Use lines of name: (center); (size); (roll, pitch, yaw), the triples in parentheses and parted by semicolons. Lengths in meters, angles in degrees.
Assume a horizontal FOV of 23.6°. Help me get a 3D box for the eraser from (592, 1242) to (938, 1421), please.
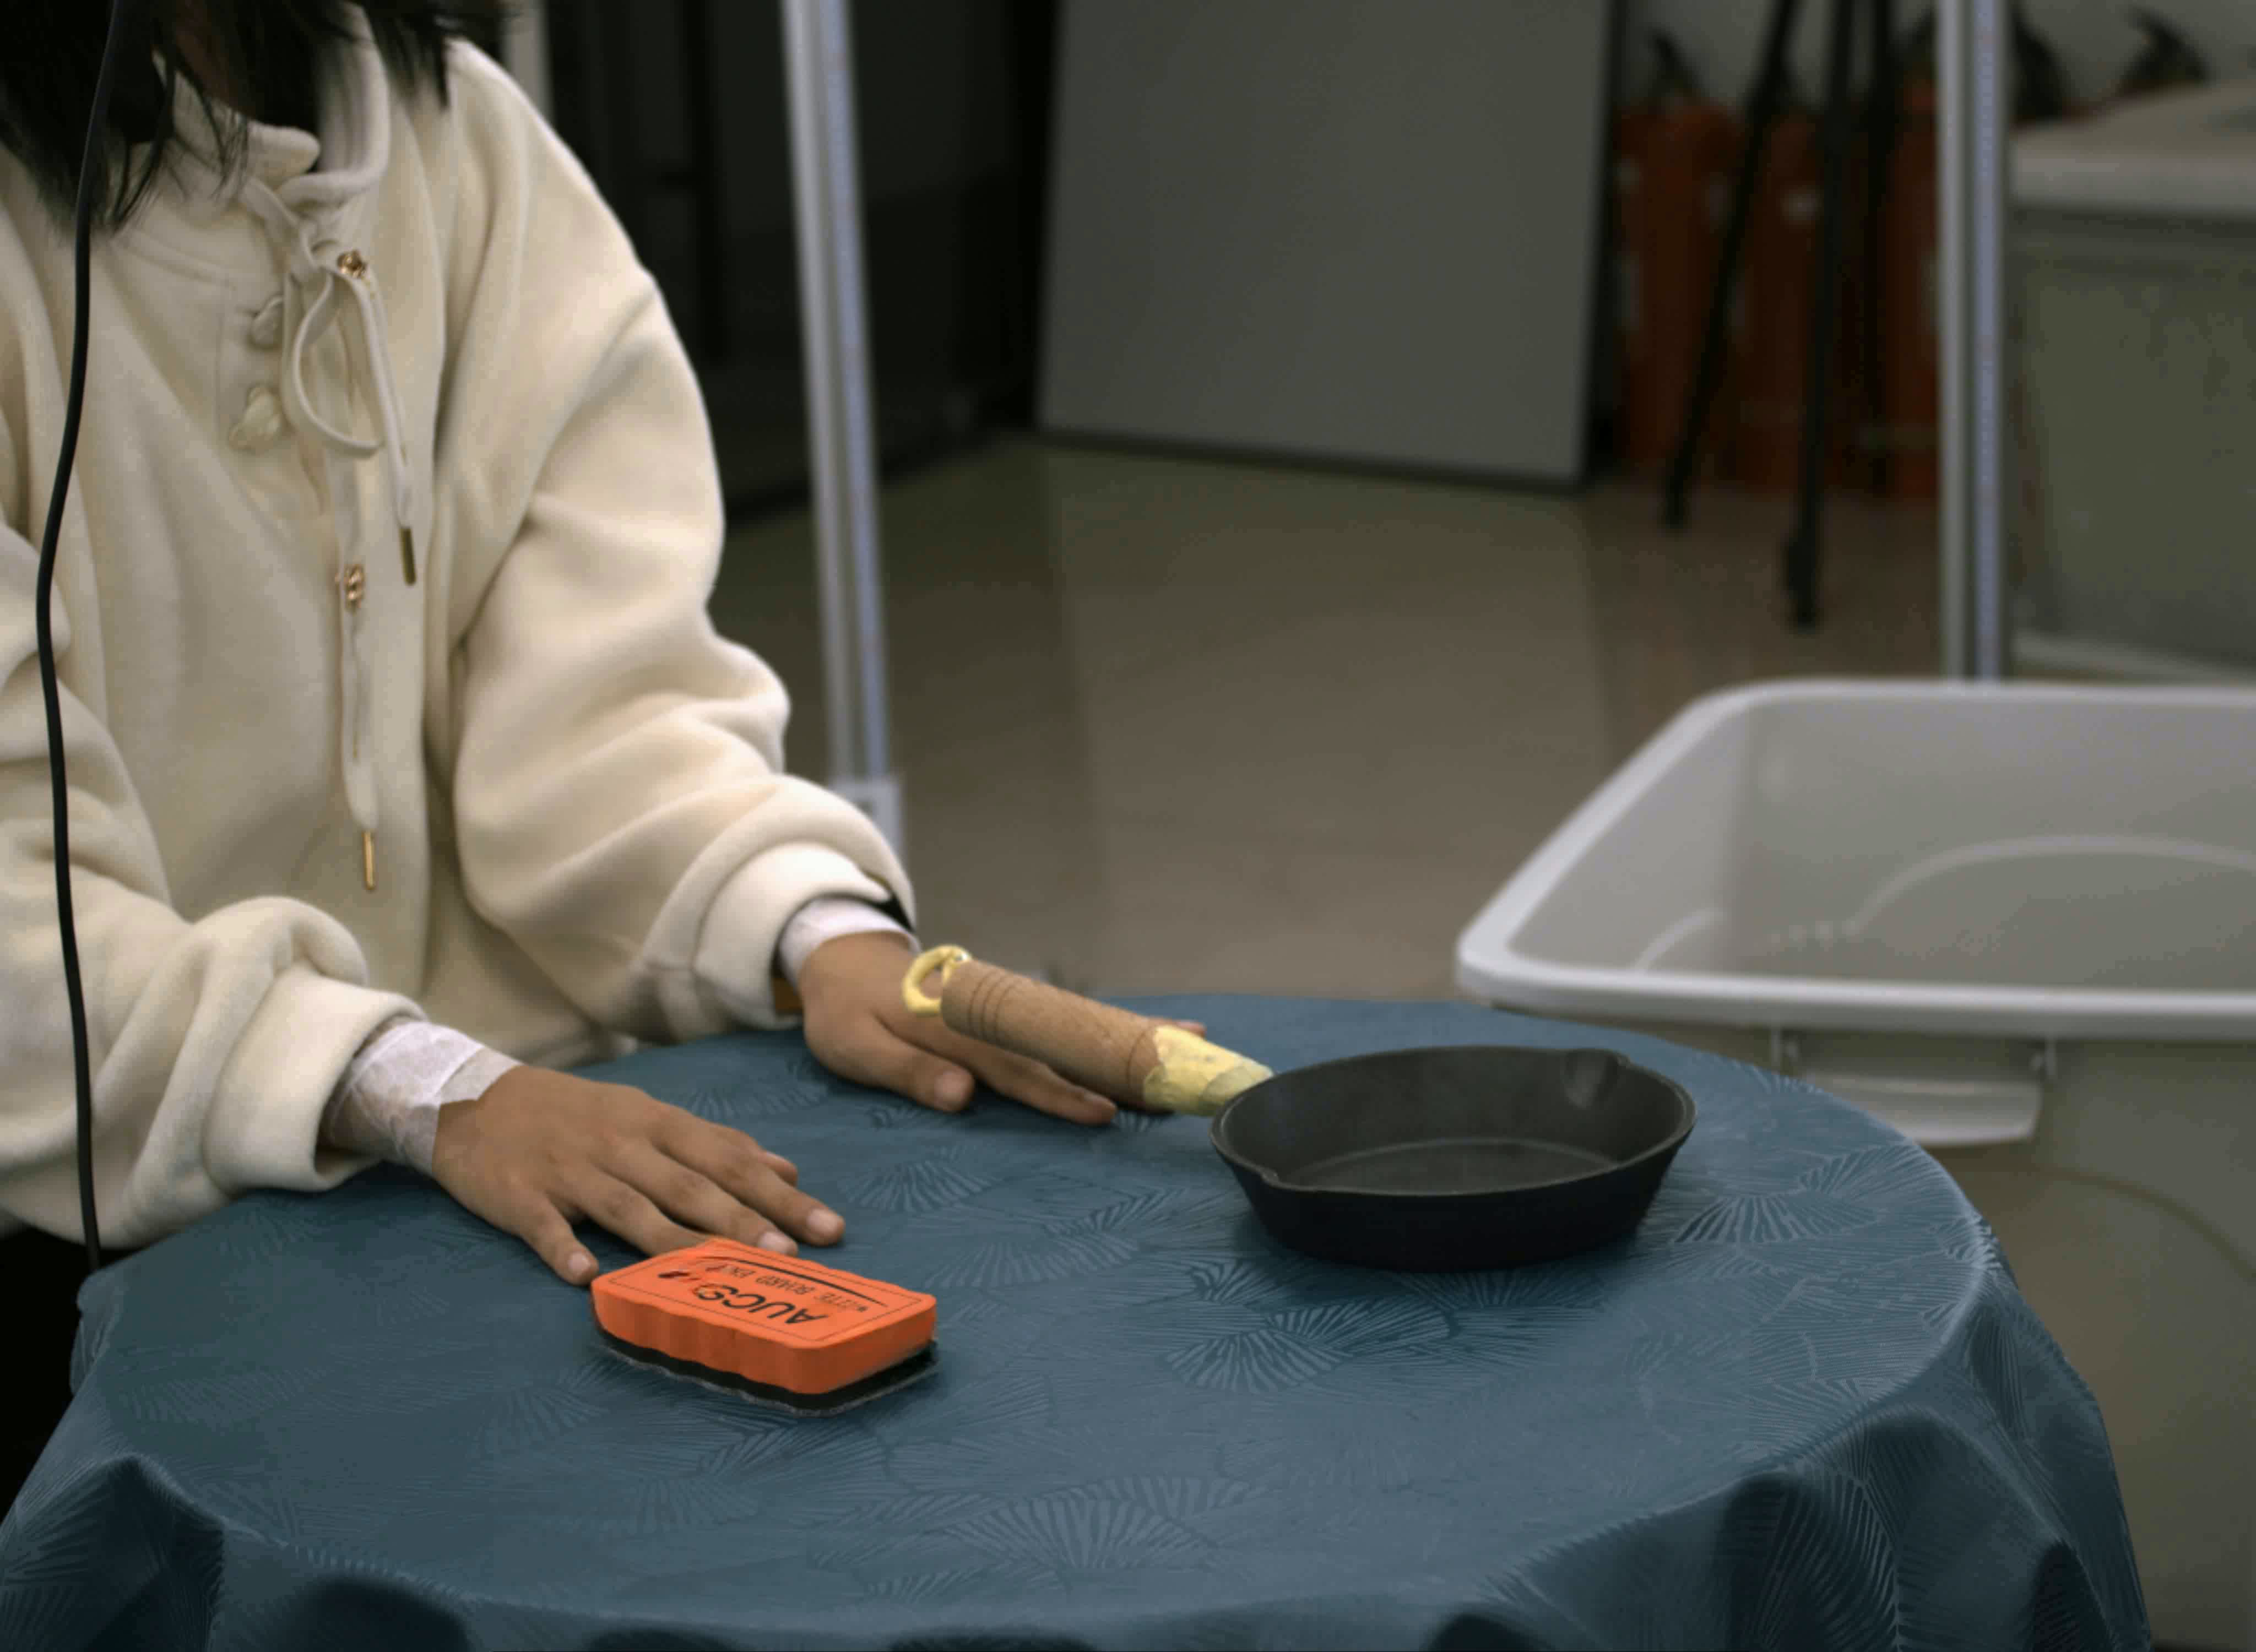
eraser: (-0.109, 0.152, 1.630); (0.058, 0.023, 0.109); (-16, 18, -41)

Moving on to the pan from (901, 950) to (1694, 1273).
pan: (0.043, 0.089, 1.781); (0.327, 0.050, 0.165); (11, 21, 44)
